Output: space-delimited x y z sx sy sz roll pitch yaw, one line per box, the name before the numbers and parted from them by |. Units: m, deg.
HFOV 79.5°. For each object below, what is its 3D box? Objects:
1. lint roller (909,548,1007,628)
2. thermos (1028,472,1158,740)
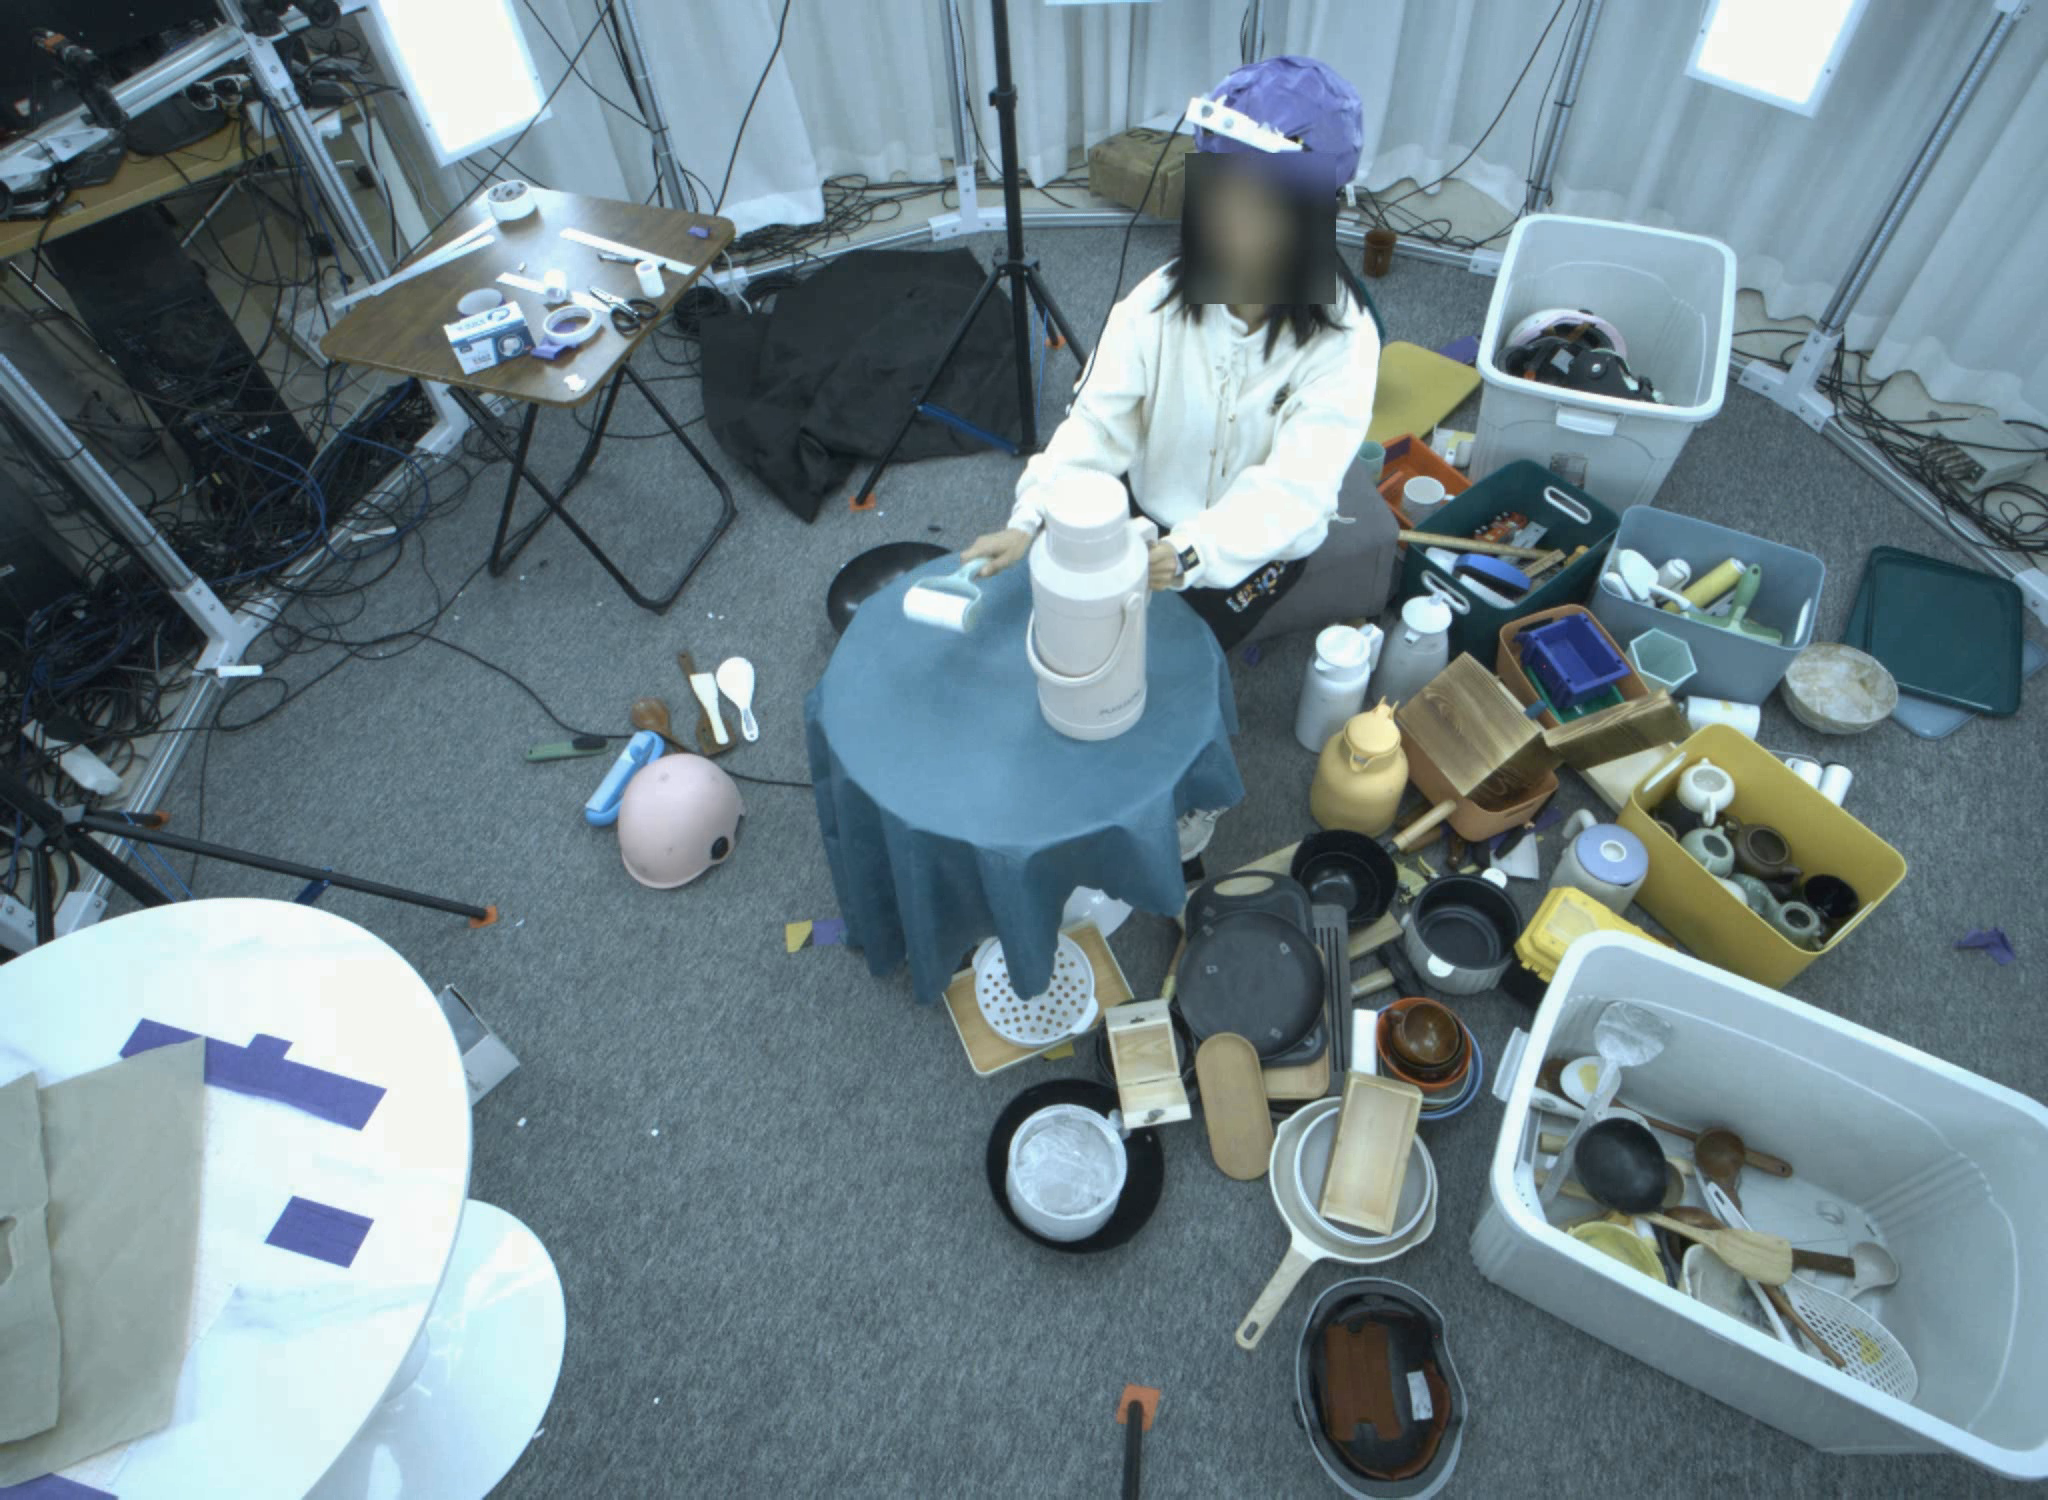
lint roller | -0.078 -0.255 1.831 0.114 0.049 0.198 15 48 26
thermos | 0.100 -0.200 1.682 0.208 0.411 0.172 -37 60 -21
